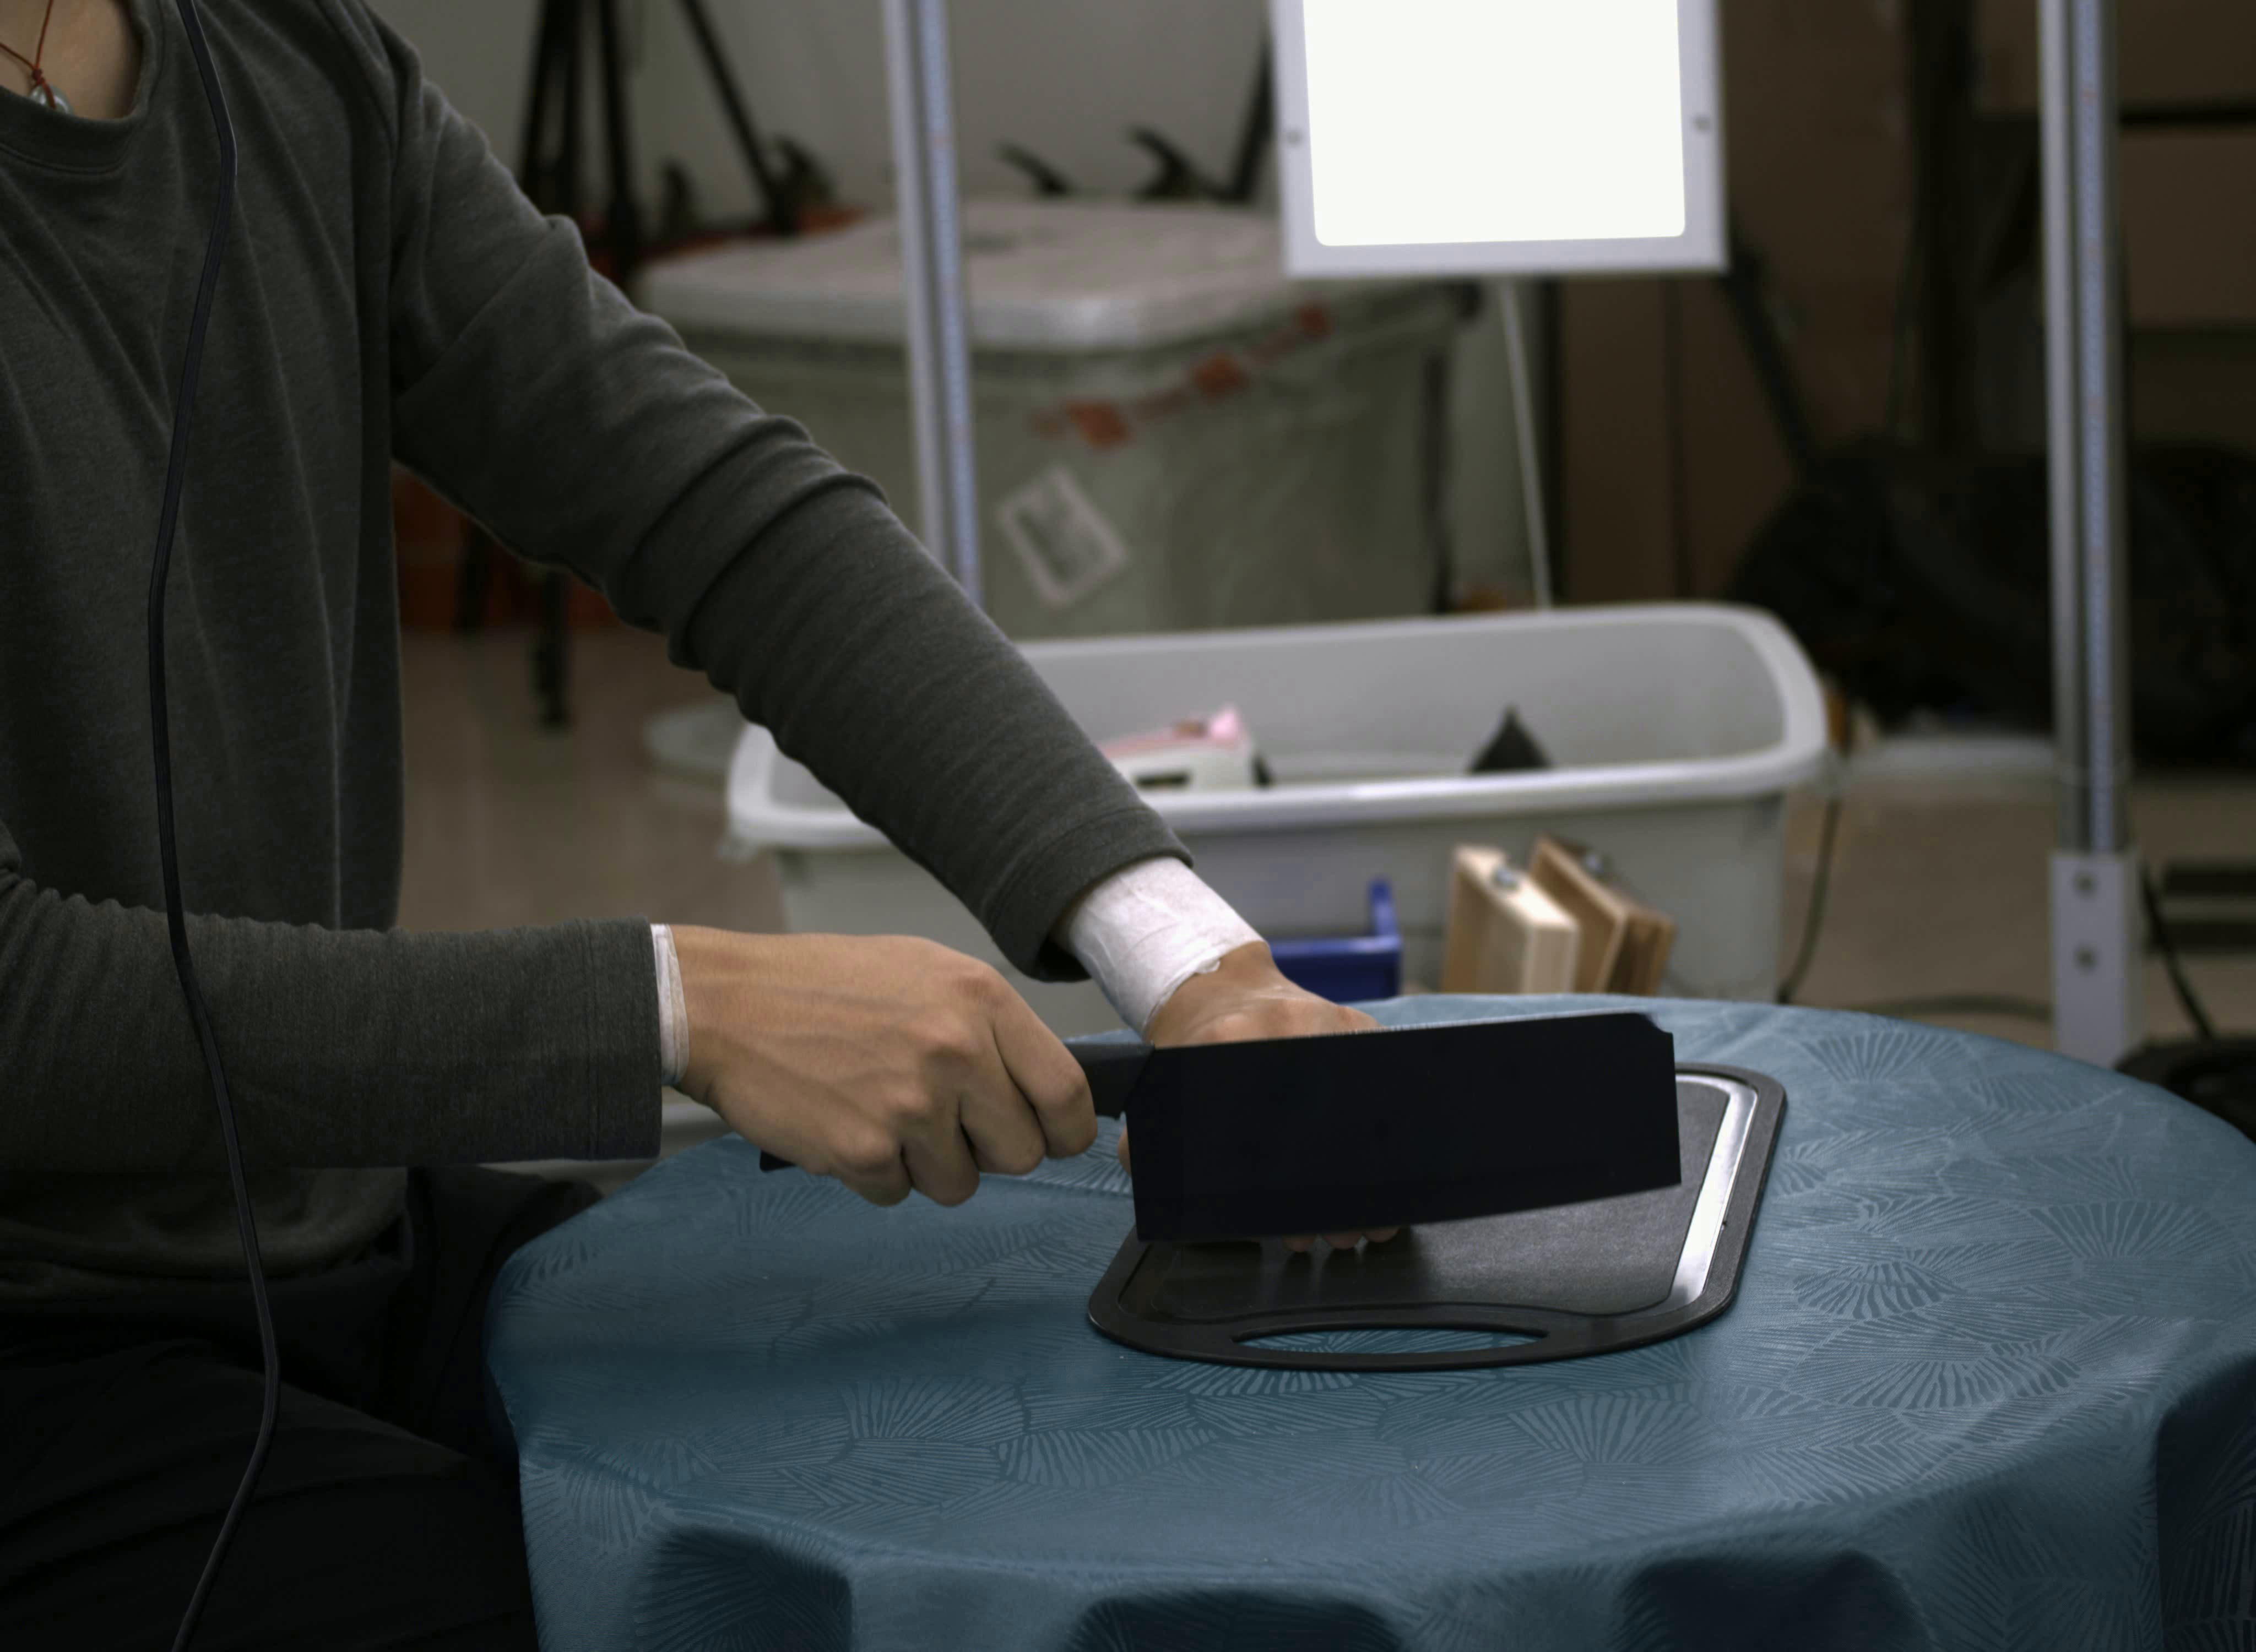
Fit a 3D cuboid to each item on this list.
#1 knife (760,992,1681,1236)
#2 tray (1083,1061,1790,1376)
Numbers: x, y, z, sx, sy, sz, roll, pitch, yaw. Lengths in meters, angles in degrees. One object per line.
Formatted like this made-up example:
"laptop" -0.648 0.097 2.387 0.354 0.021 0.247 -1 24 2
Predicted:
"knife" 0.030 0.095 1.796 0.302 0.081 0.021 -1 8 3
"tray" 0.109 0.126 1.850 0.213 0.010 0.321 -2 14 14
